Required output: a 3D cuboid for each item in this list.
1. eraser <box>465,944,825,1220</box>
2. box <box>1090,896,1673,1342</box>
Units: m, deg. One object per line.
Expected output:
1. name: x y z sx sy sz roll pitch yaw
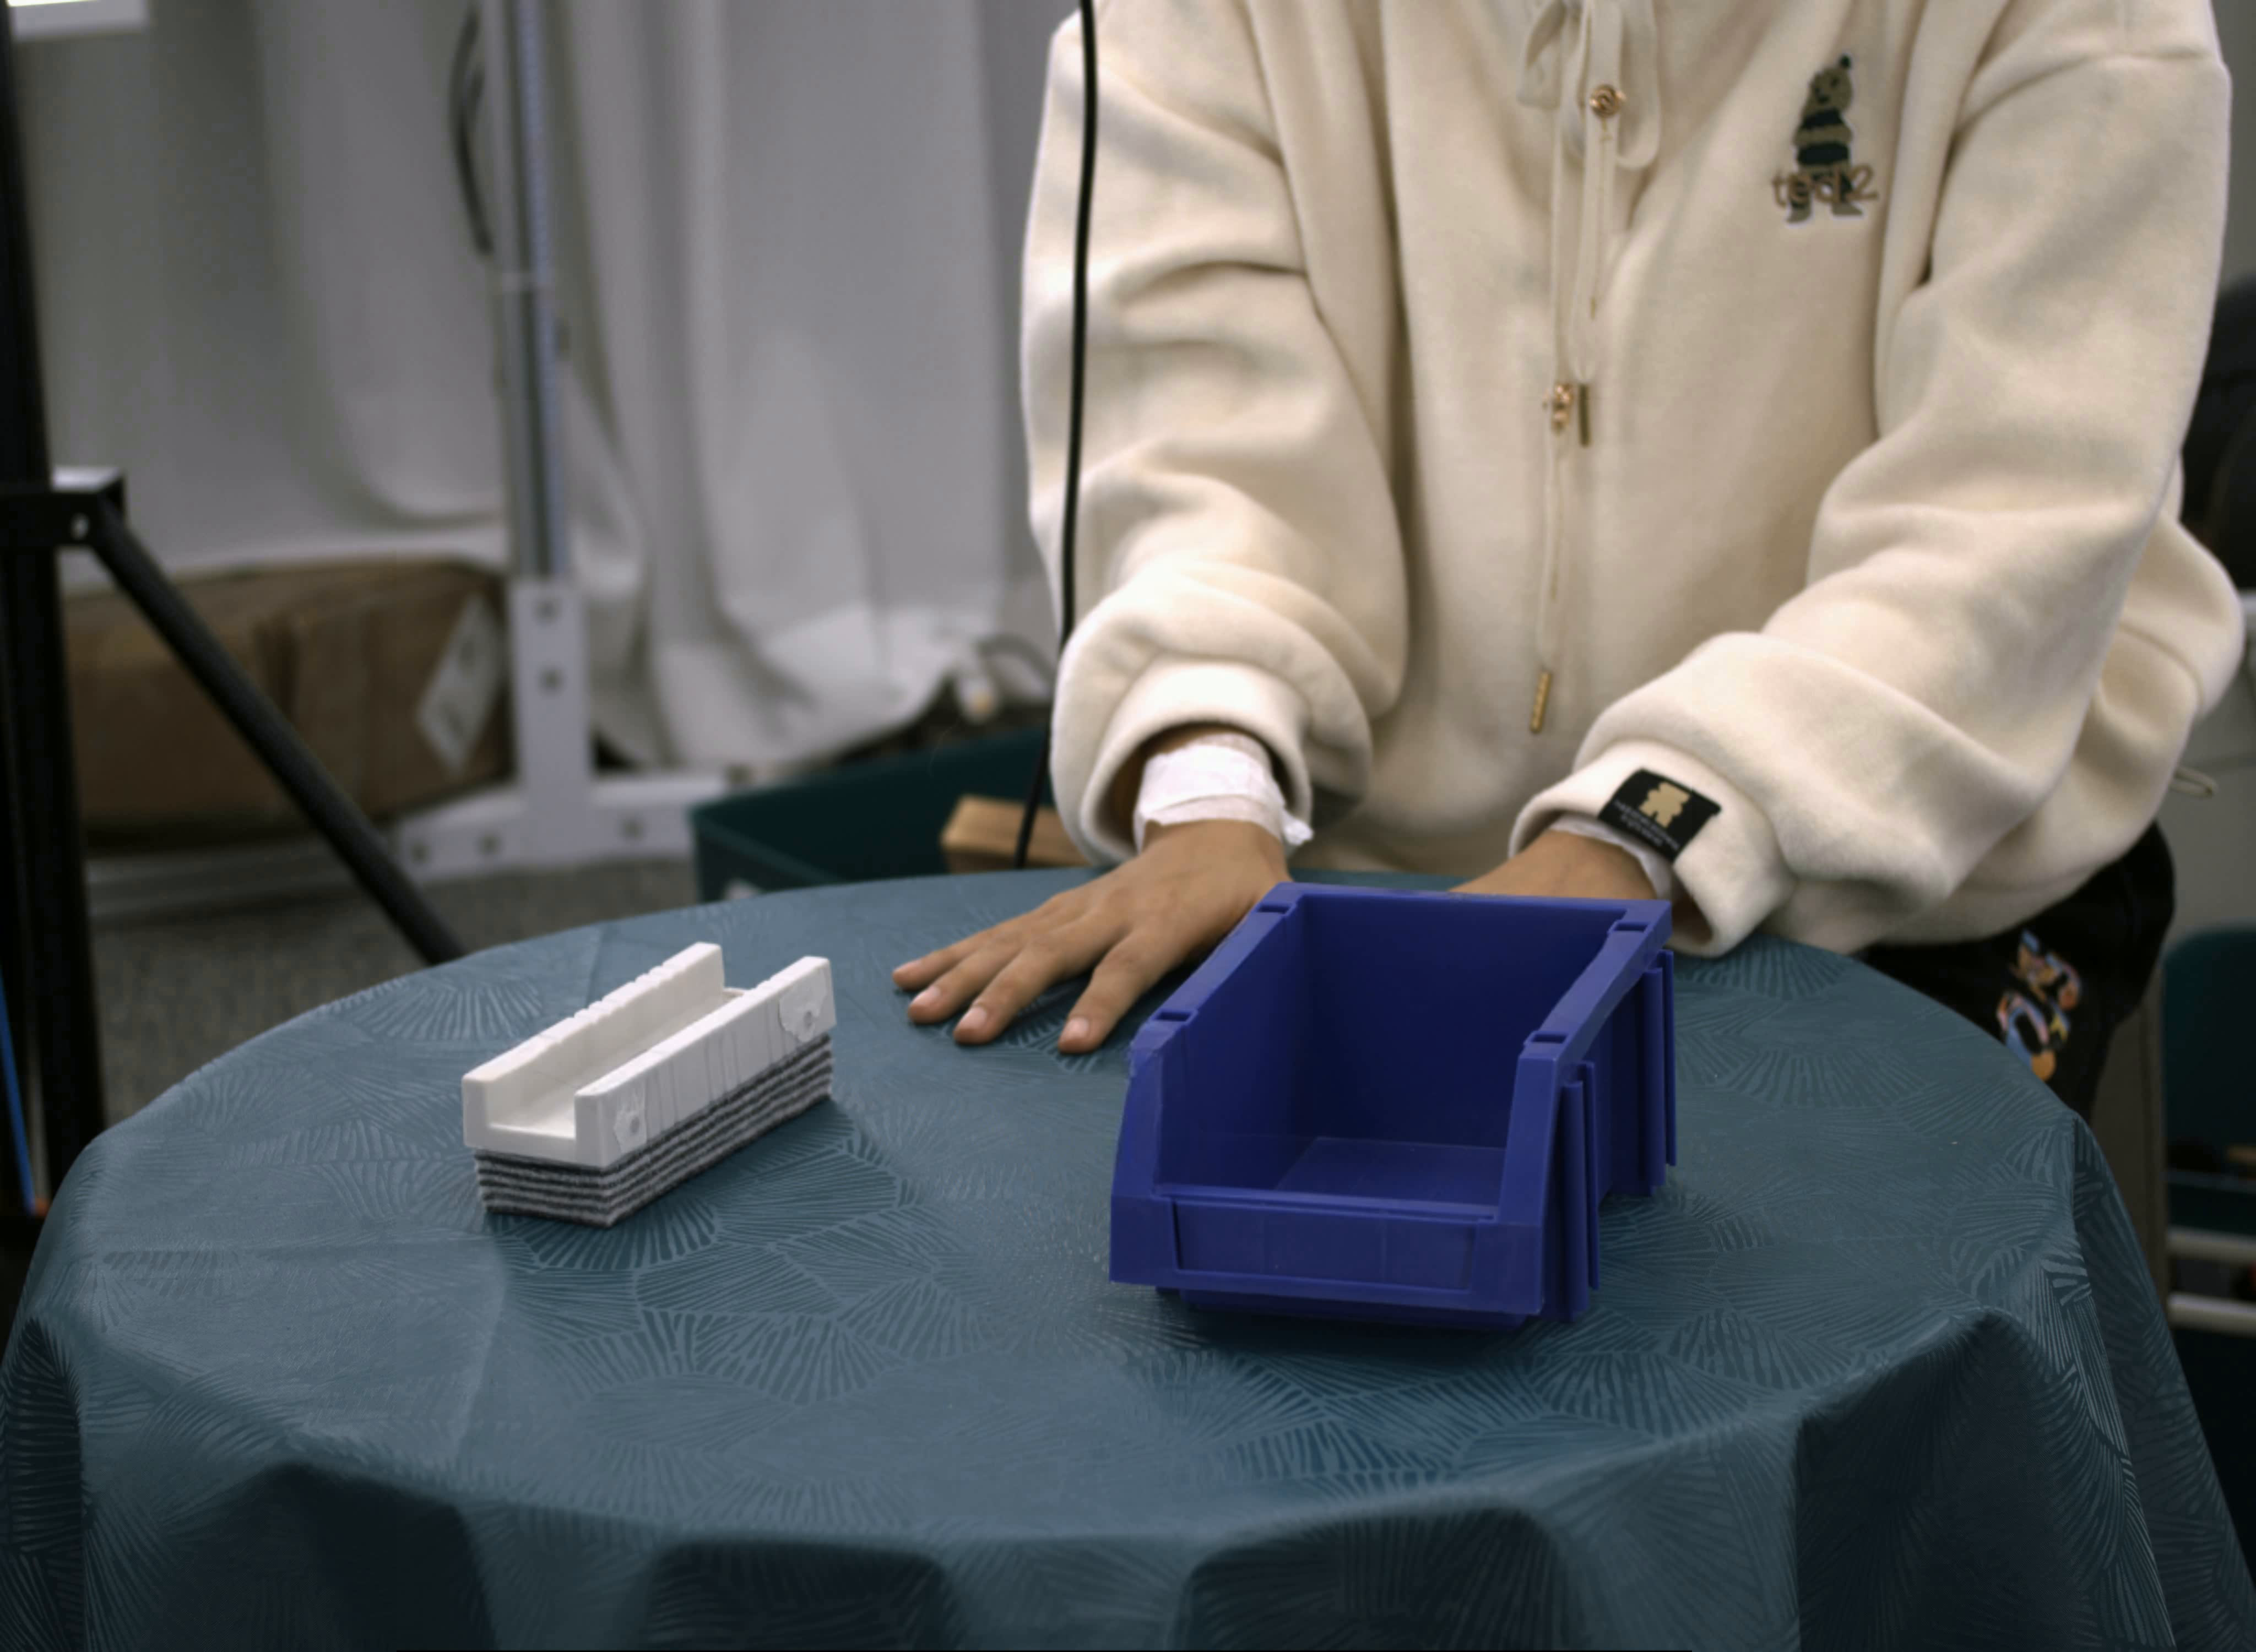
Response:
1. eraser: -0.144 0.076 1.608 0.050 0.046 0.132 3 18 26
2. box: 0.076 0.084 1.480 0.126 0.082 0.177 3 15 19
